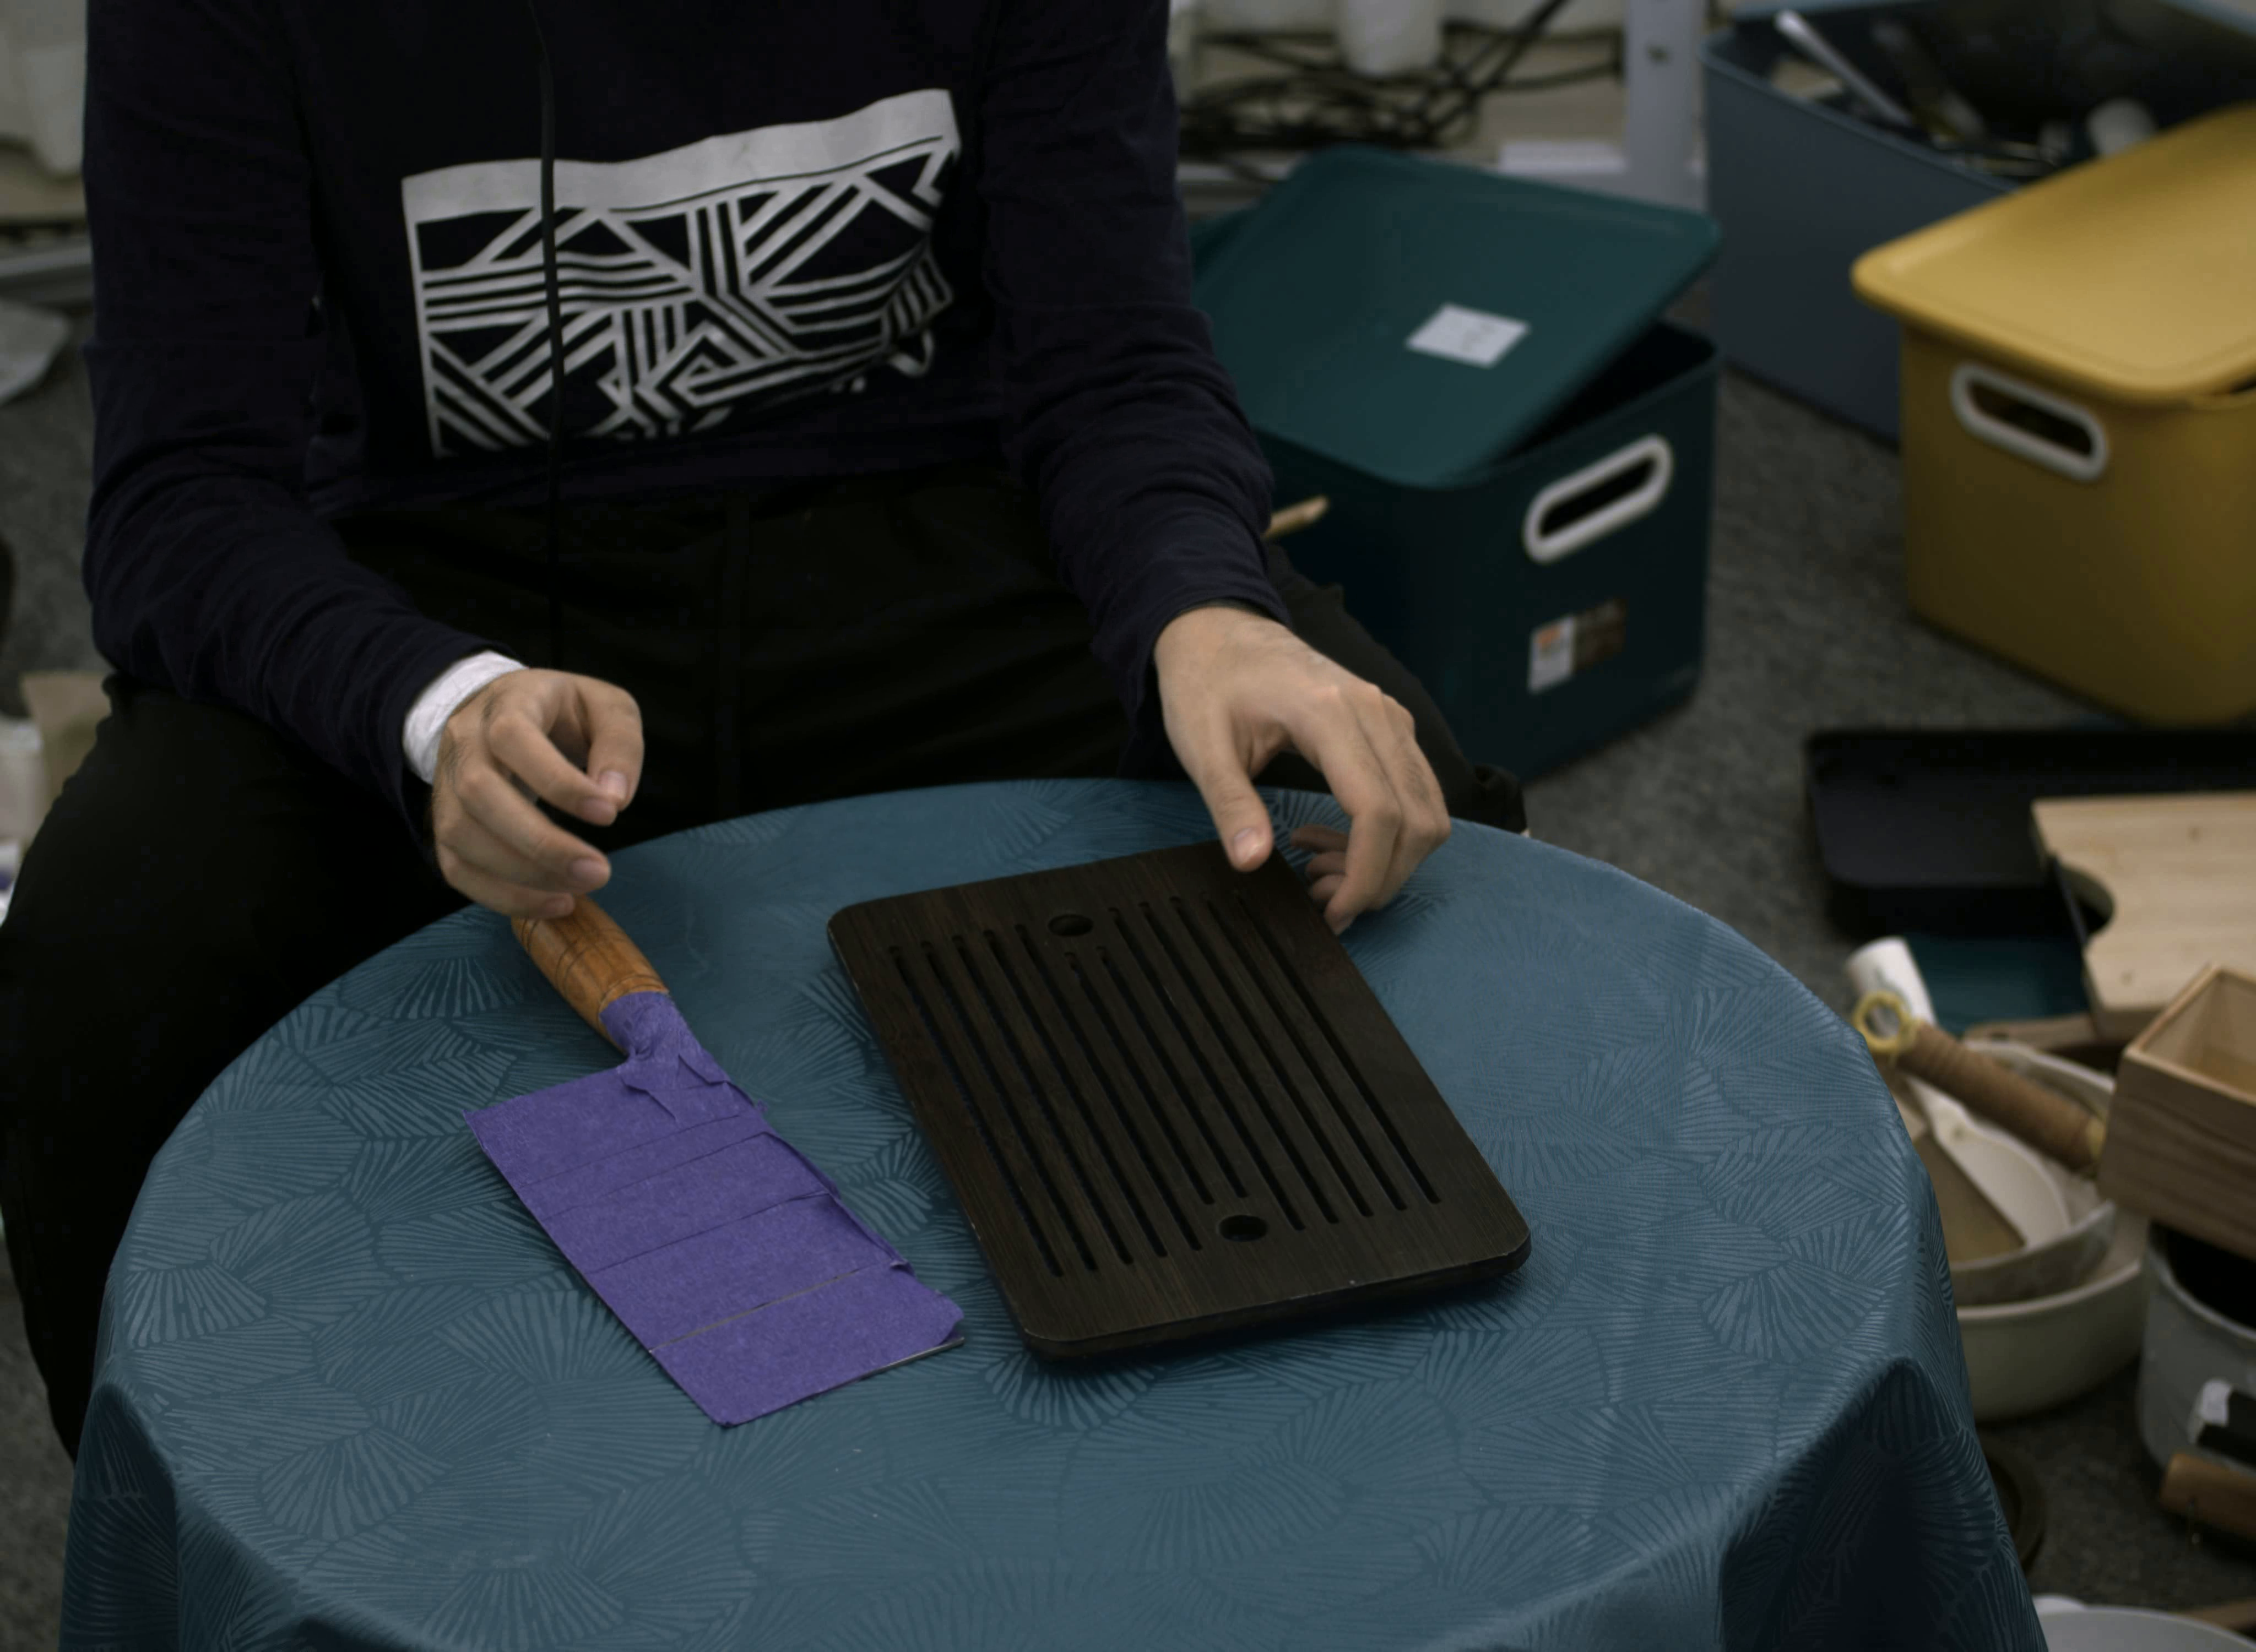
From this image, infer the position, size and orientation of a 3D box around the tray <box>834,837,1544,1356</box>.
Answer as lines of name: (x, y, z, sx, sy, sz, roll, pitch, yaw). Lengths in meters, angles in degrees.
tray: (0.014, 0.088, 1.905, 0.170, 0.018, 0.309, -10, 28, -13)

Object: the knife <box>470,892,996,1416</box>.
knife: (-0.162, 0.106, 1.879, 0.104, 0.032, 0.317, -16, 31, -25)
